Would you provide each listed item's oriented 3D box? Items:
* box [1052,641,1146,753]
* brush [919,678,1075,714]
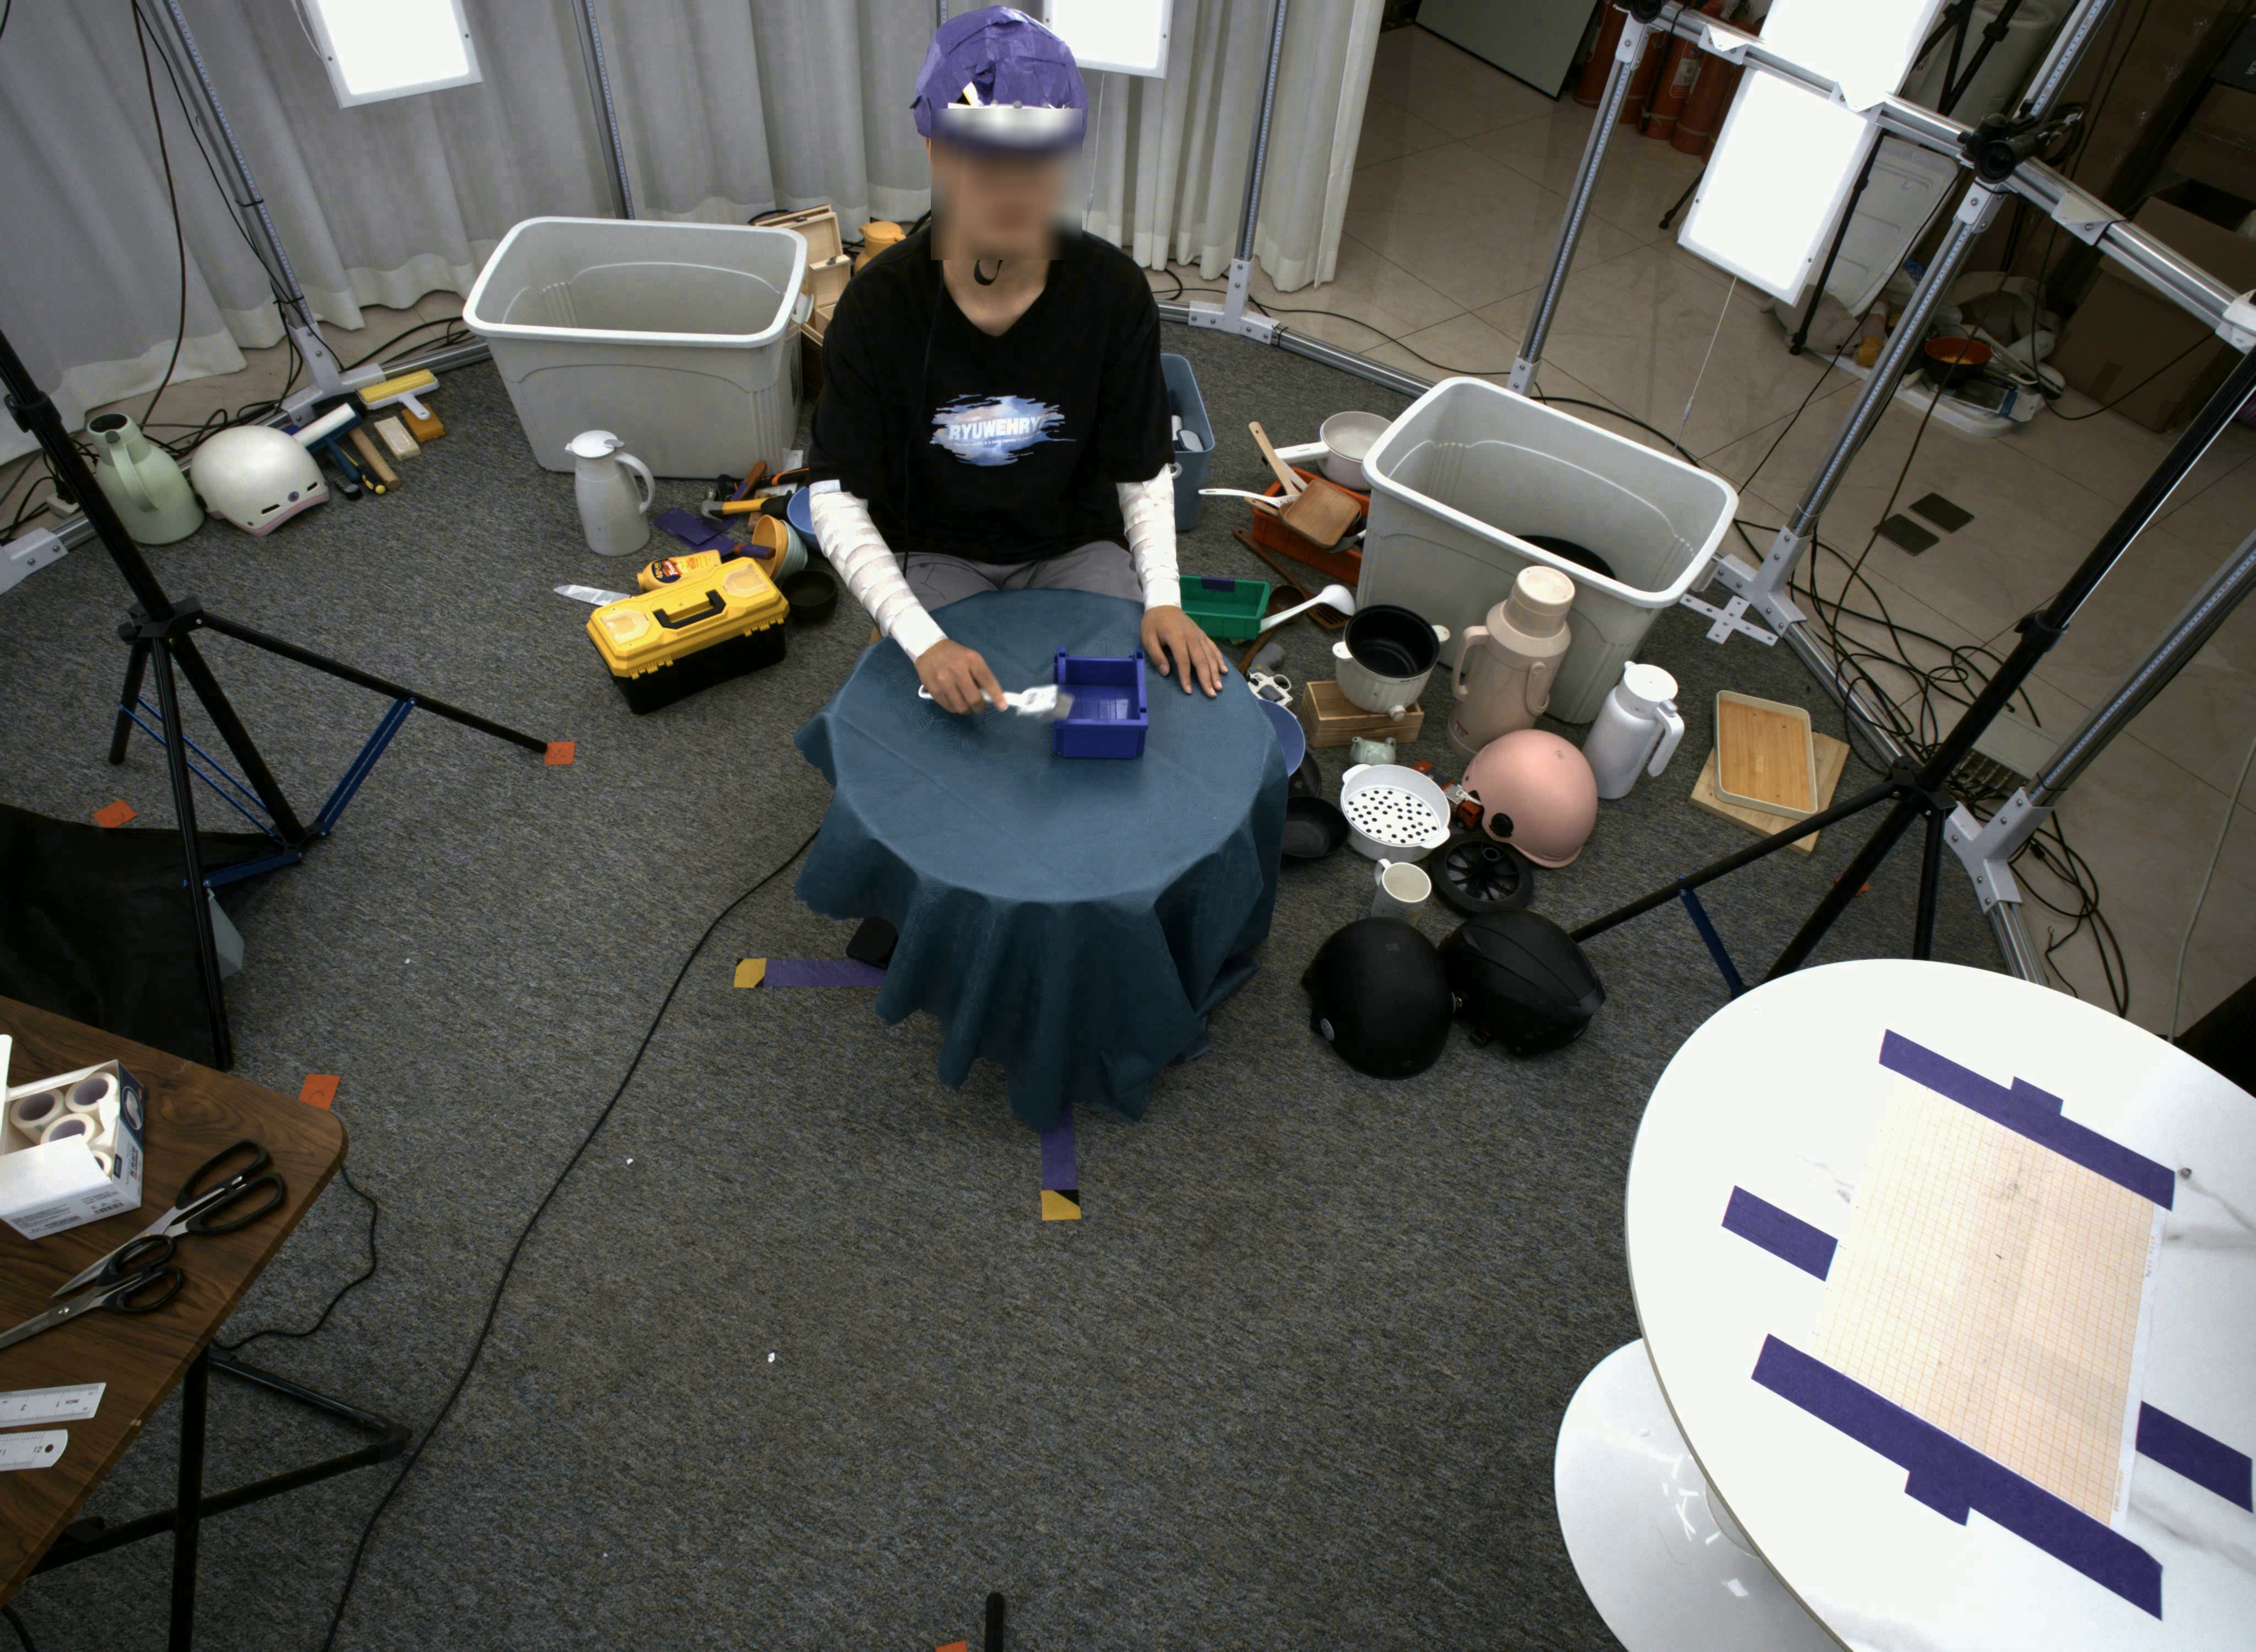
[{"bbox_3d":[-0.040,-0.186,1.779,0.124,0.080,0.184,2,51,-2],"label":"box"},{"bbox_3d":[-0.177,-0.173,1.735,0.244,0.049,0.035,2,69,33],"label":"brush"}]
